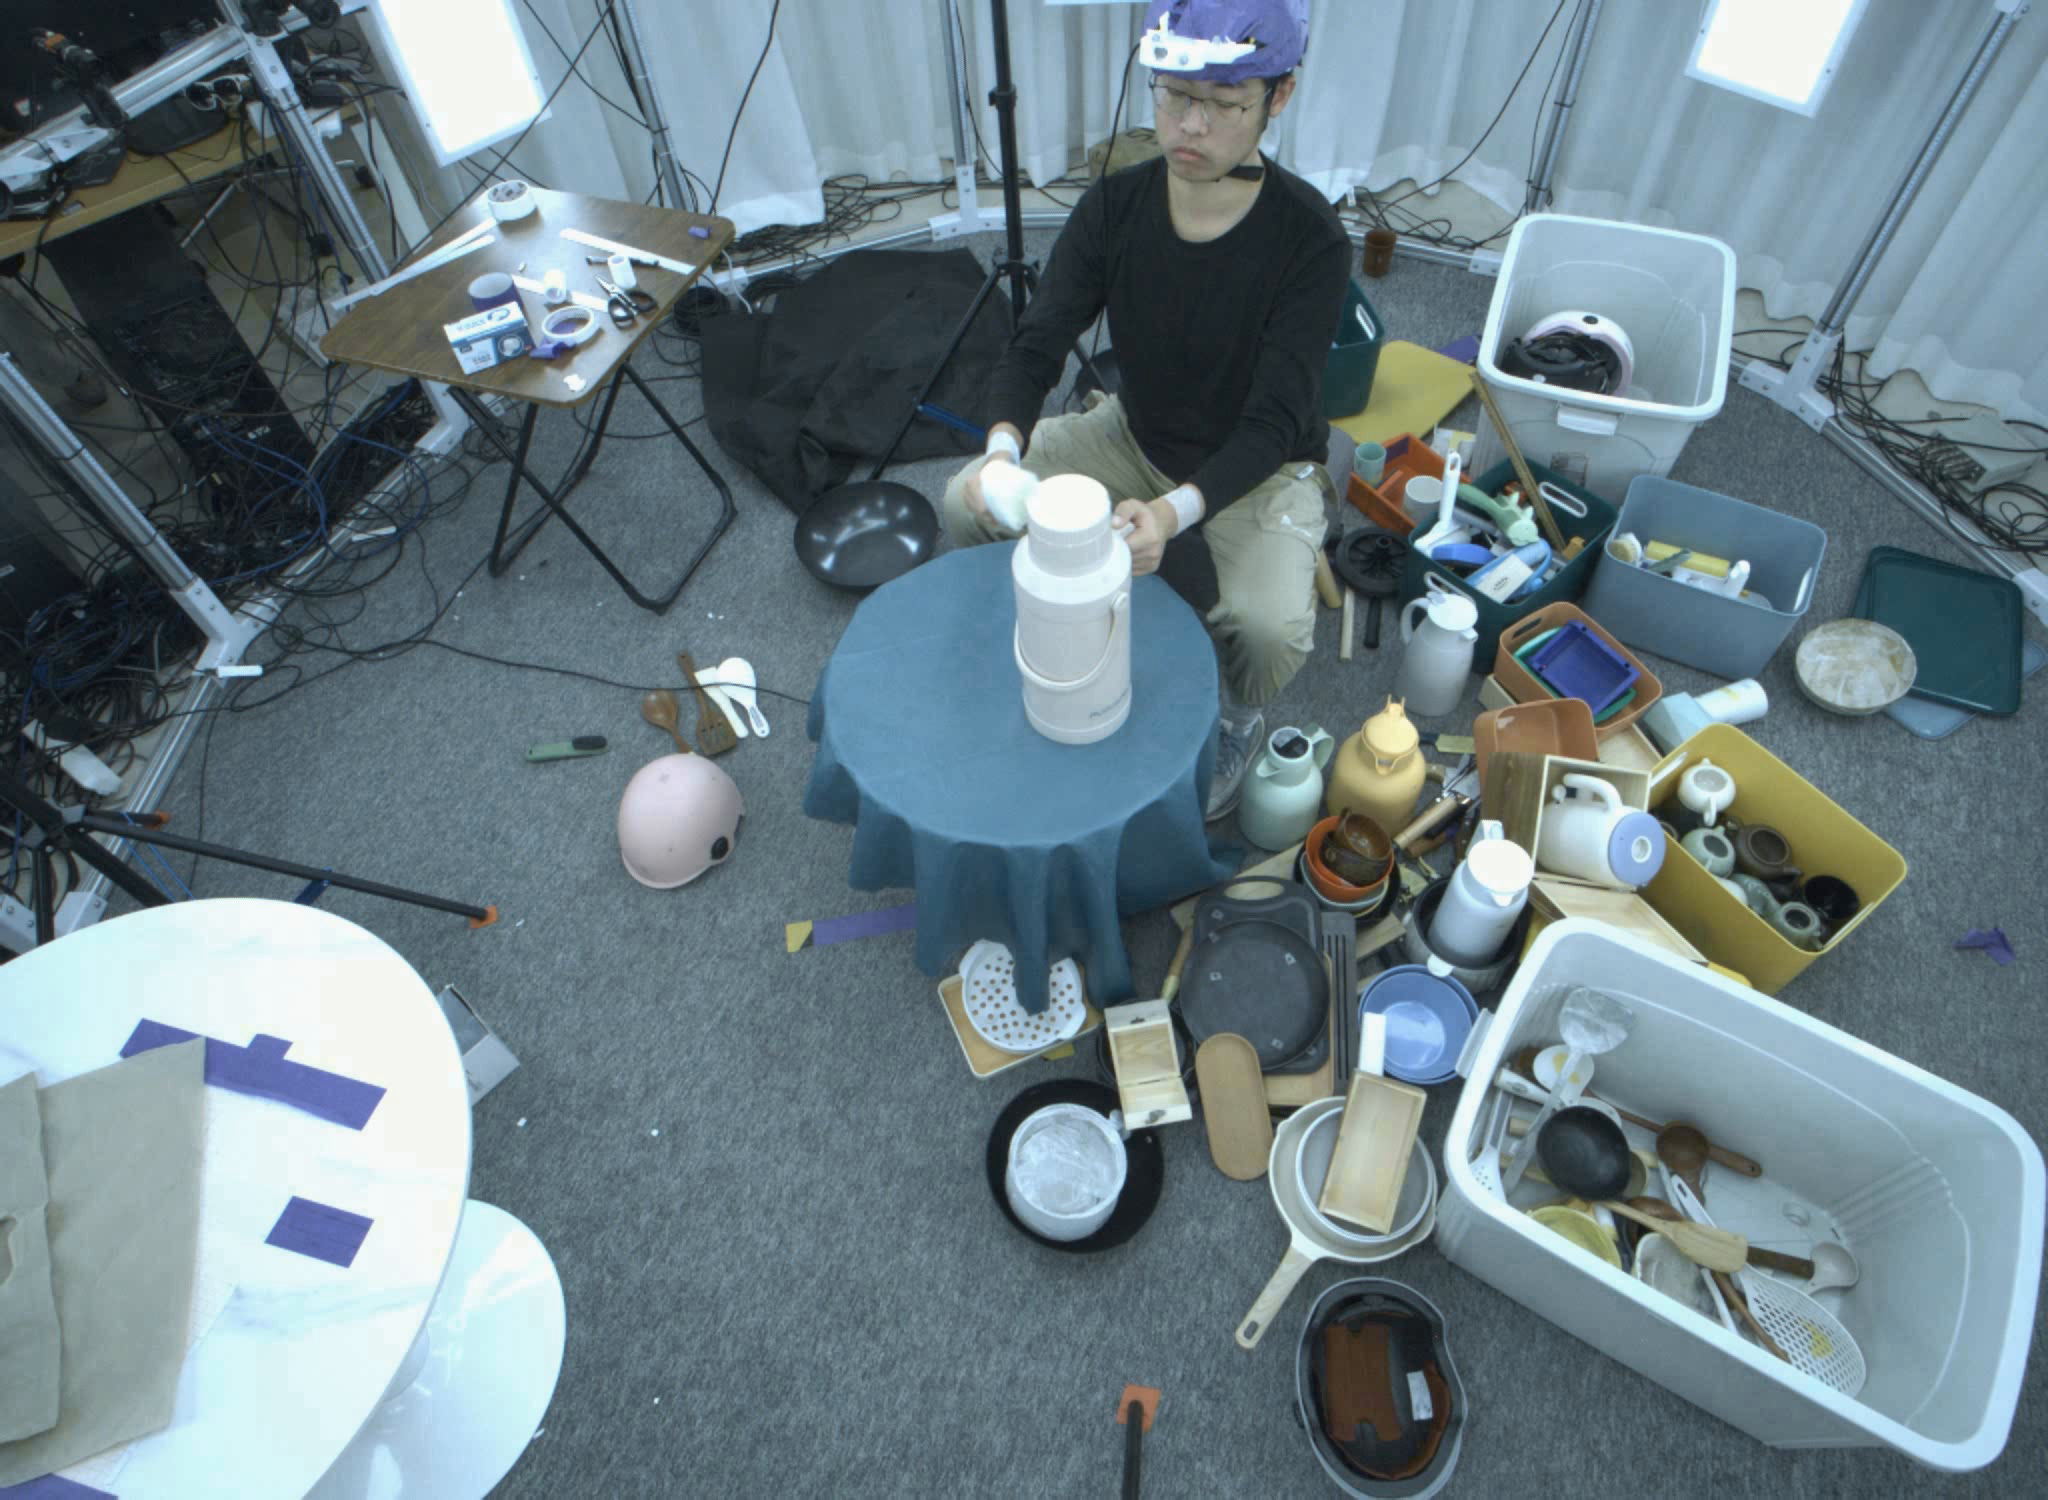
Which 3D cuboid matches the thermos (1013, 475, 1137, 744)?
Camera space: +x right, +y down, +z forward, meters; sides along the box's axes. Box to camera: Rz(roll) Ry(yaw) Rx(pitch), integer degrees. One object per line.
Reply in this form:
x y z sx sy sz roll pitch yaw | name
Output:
0.080 -0.195 1.678 0.172 0.411 0.208 33 63 26 | thermos

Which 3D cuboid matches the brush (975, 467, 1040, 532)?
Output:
-0.014 -0.347 1.752 0.083 0.326 0.084 -22 89 4 | brush
